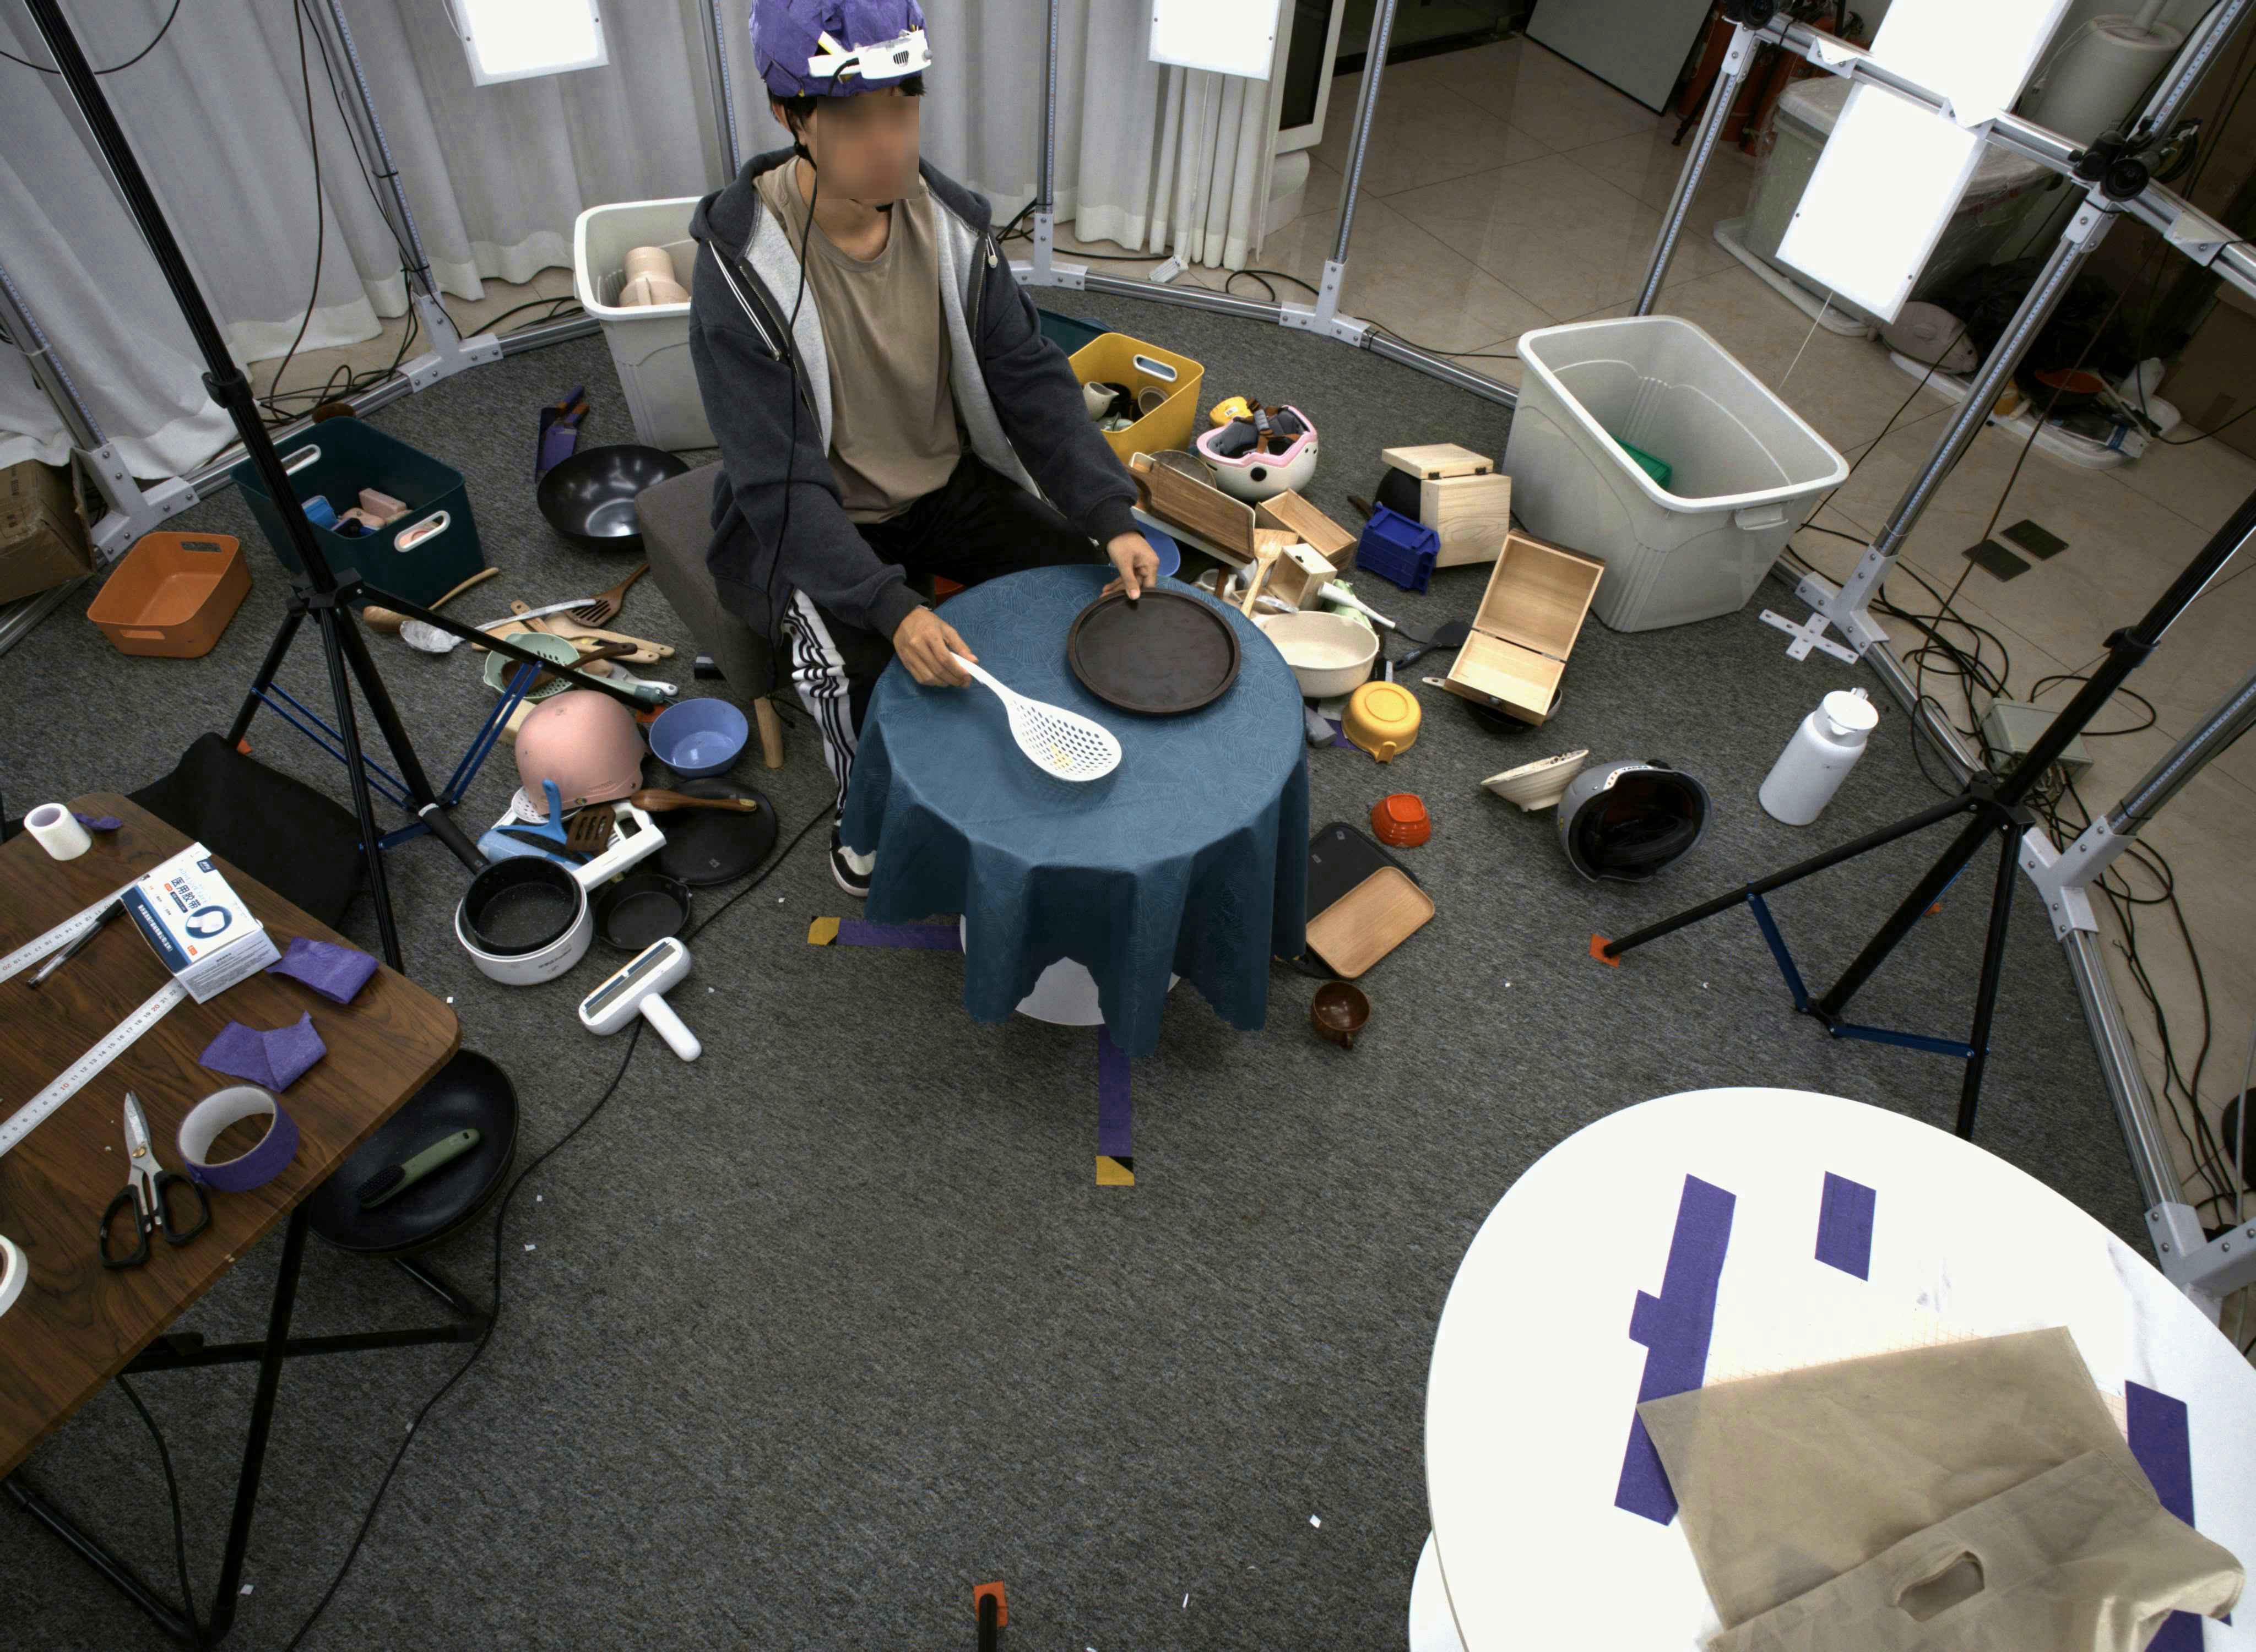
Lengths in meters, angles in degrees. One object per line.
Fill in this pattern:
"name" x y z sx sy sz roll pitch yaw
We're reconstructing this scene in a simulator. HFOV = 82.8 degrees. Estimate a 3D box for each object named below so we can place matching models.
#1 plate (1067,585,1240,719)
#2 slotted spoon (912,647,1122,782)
"plate" 0.037 -0.252 1.867 0.254 0.028 0.261 1 52 -2
"slotted spoon" -0.161 -0.164 1.751 0.352 0.049 0.138 40 46 18
